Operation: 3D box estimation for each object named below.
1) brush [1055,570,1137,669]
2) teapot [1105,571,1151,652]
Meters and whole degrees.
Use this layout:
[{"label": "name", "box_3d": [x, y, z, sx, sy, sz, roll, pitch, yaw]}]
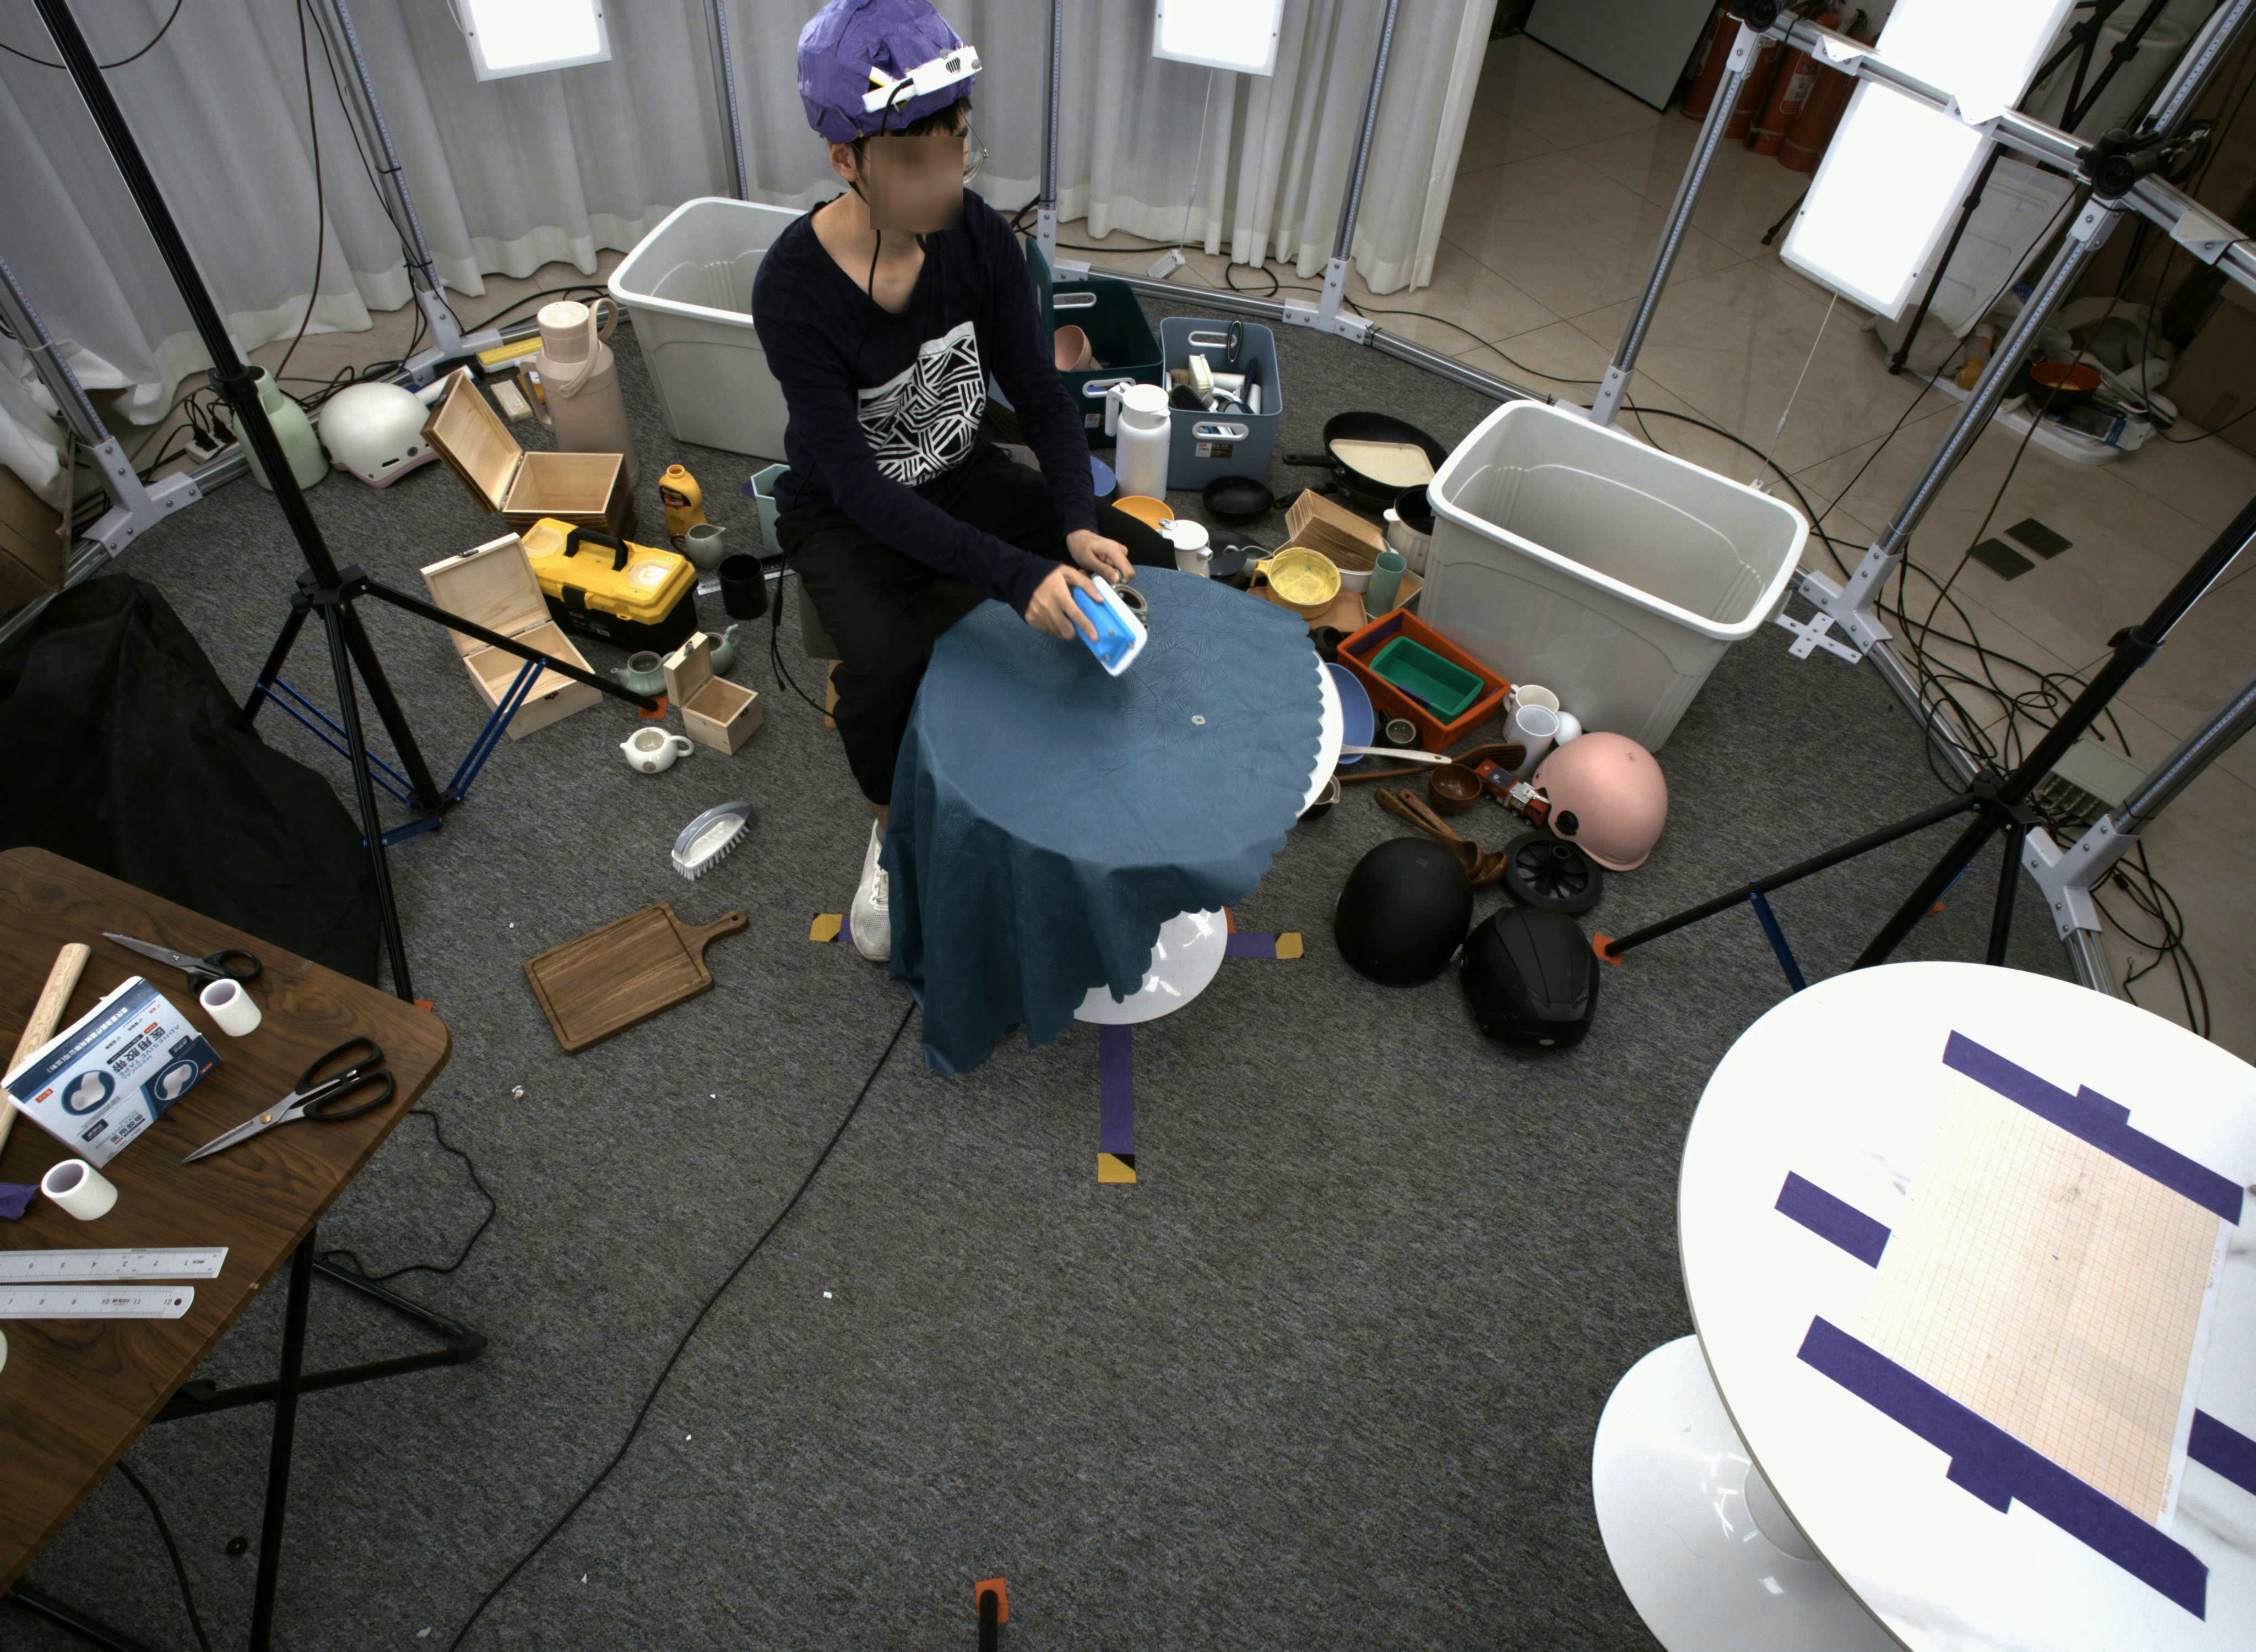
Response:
[{"label": "brush", "box_3d": [-0.052, -0.286, 1.757, 0.055, 0.083, 0.147, 14, 33, -52]}, {"label": "teapot", "box_3d": [-0.011, -0.295, 1.810, 0.079, 0.074, 0.135, 7, 44, -38]}]
